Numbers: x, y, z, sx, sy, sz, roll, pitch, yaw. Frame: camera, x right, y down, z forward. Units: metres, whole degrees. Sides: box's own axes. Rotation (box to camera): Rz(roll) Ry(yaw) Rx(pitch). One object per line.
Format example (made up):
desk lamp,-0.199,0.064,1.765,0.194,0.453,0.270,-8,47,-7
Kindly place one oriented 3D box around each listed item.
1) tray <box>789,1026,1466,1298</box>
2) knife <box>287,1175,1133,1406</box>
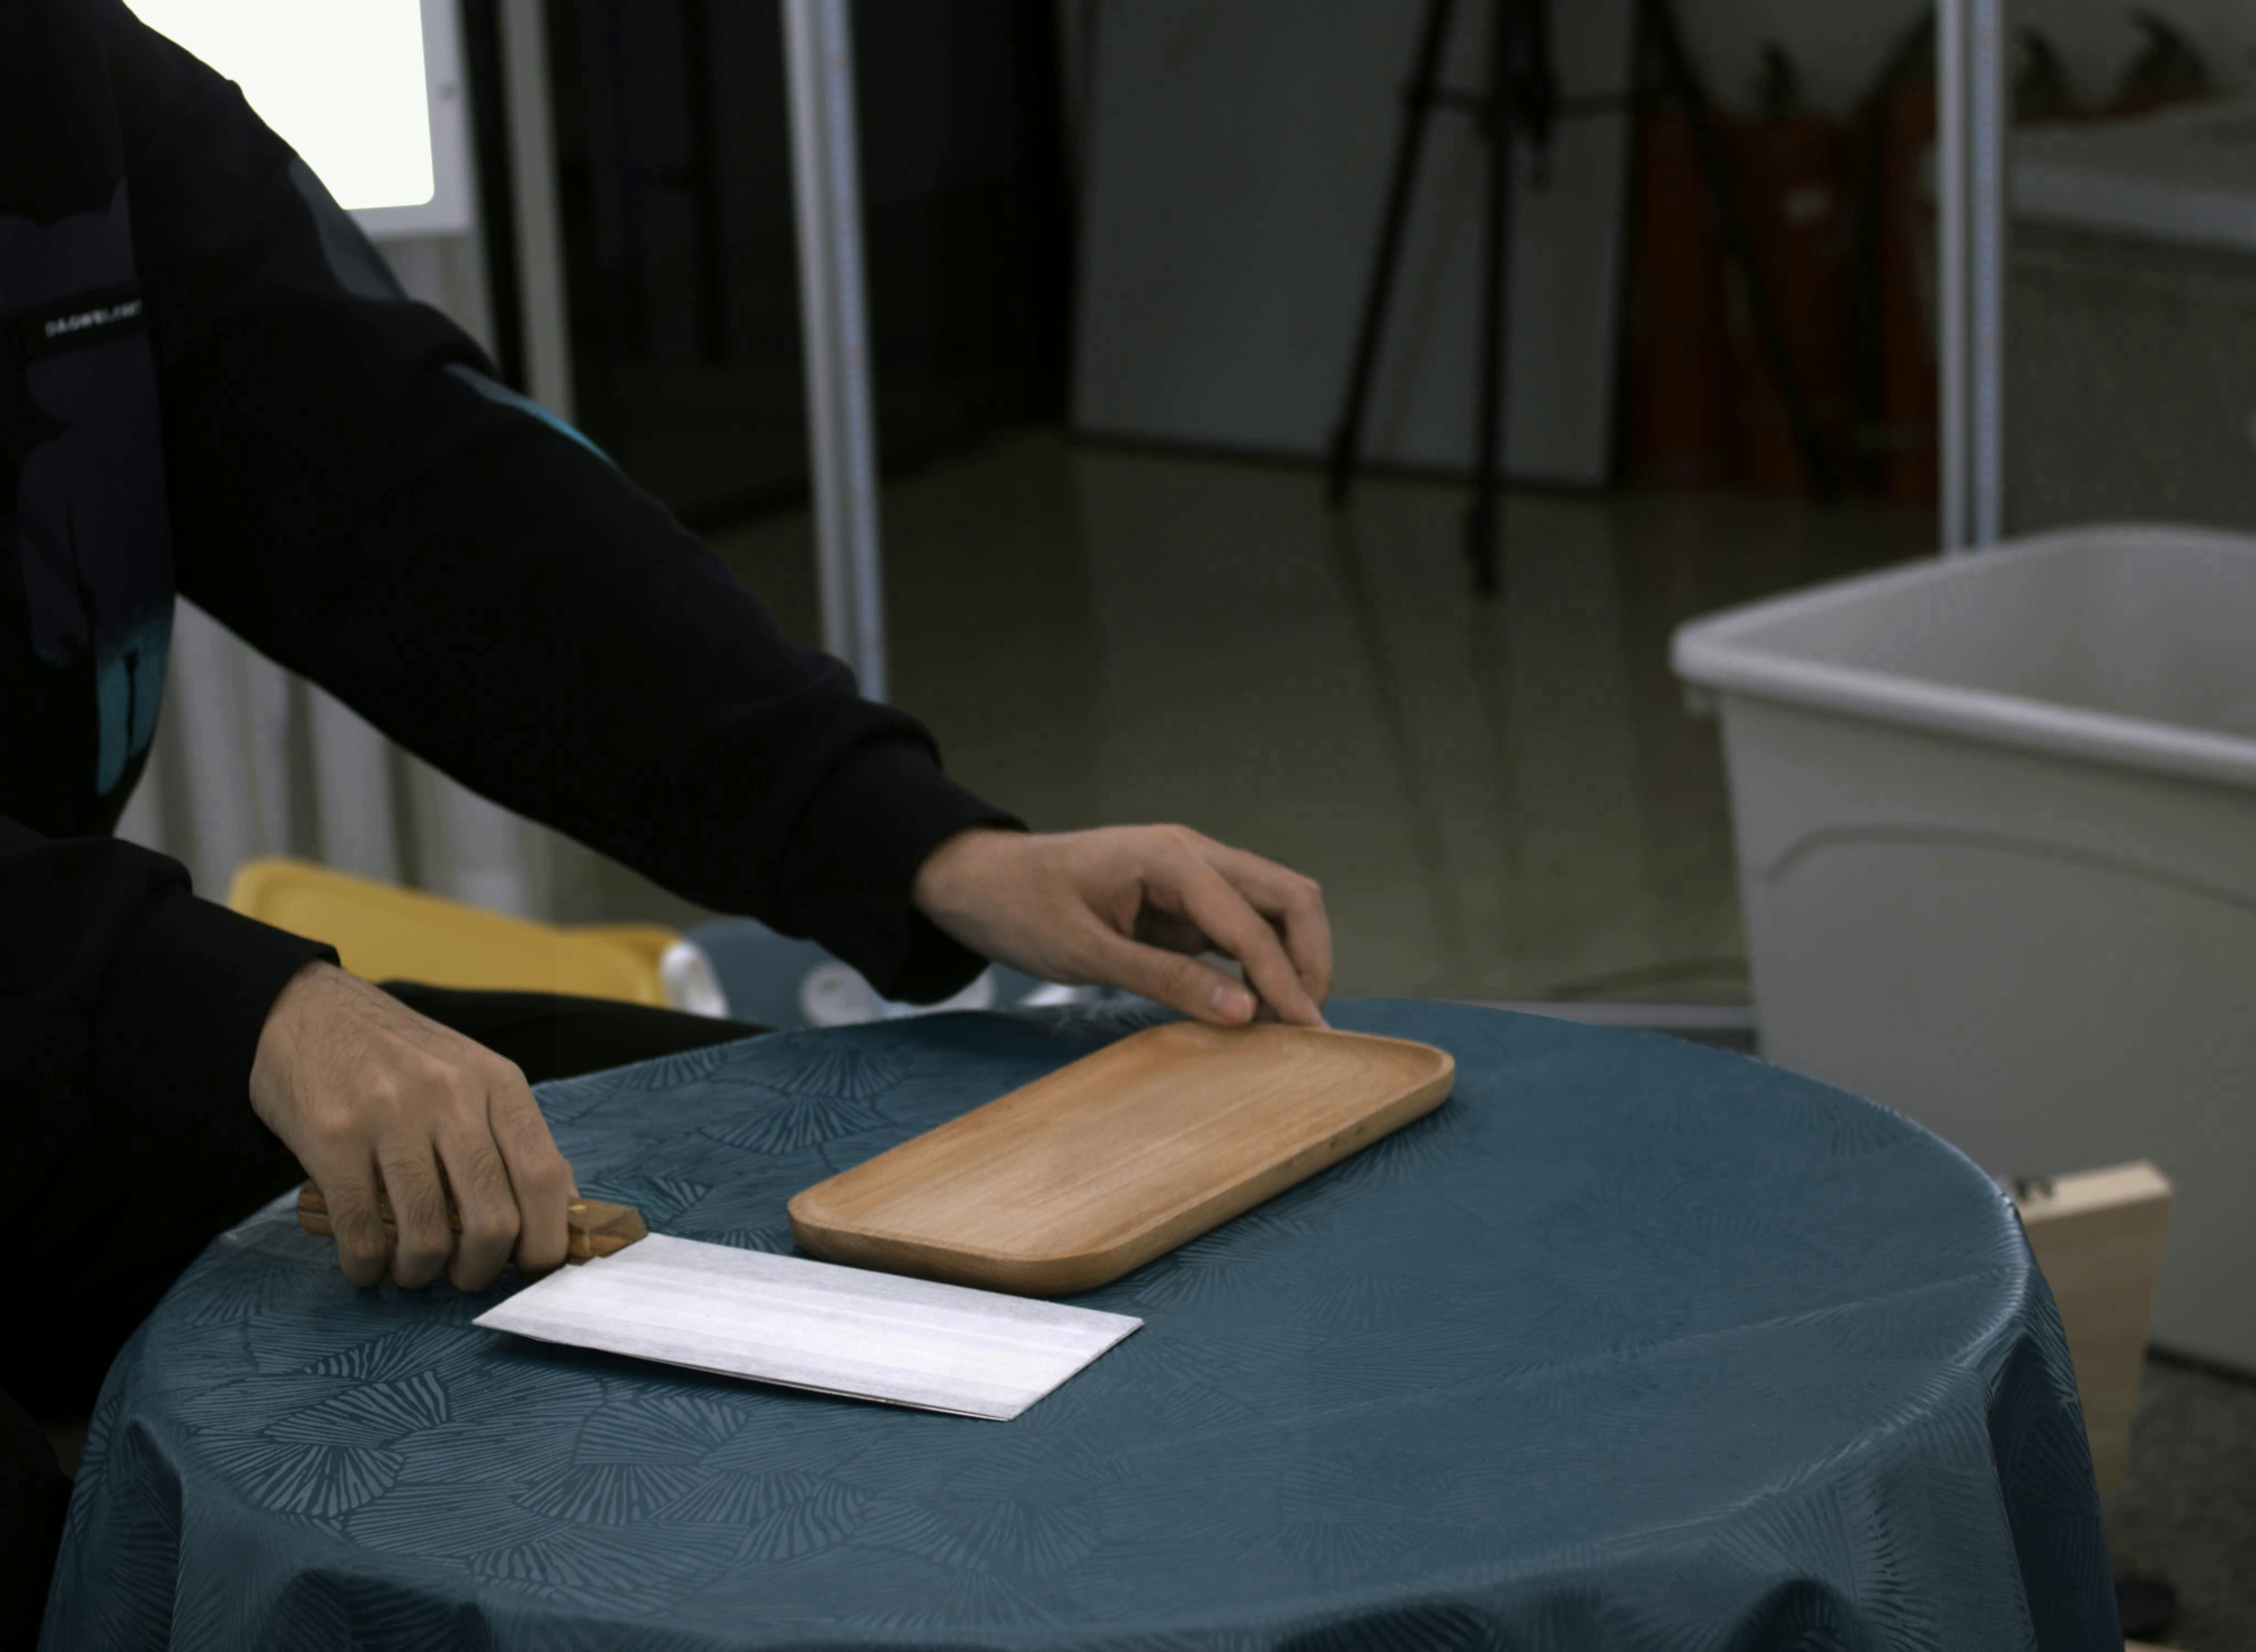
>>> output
tray,0.004,0.109,1.787,0.131,0.023,0.246,9,18,36
knife,-0.146,0.147,1.678,0.307,0.021,0.091,6,18,28
